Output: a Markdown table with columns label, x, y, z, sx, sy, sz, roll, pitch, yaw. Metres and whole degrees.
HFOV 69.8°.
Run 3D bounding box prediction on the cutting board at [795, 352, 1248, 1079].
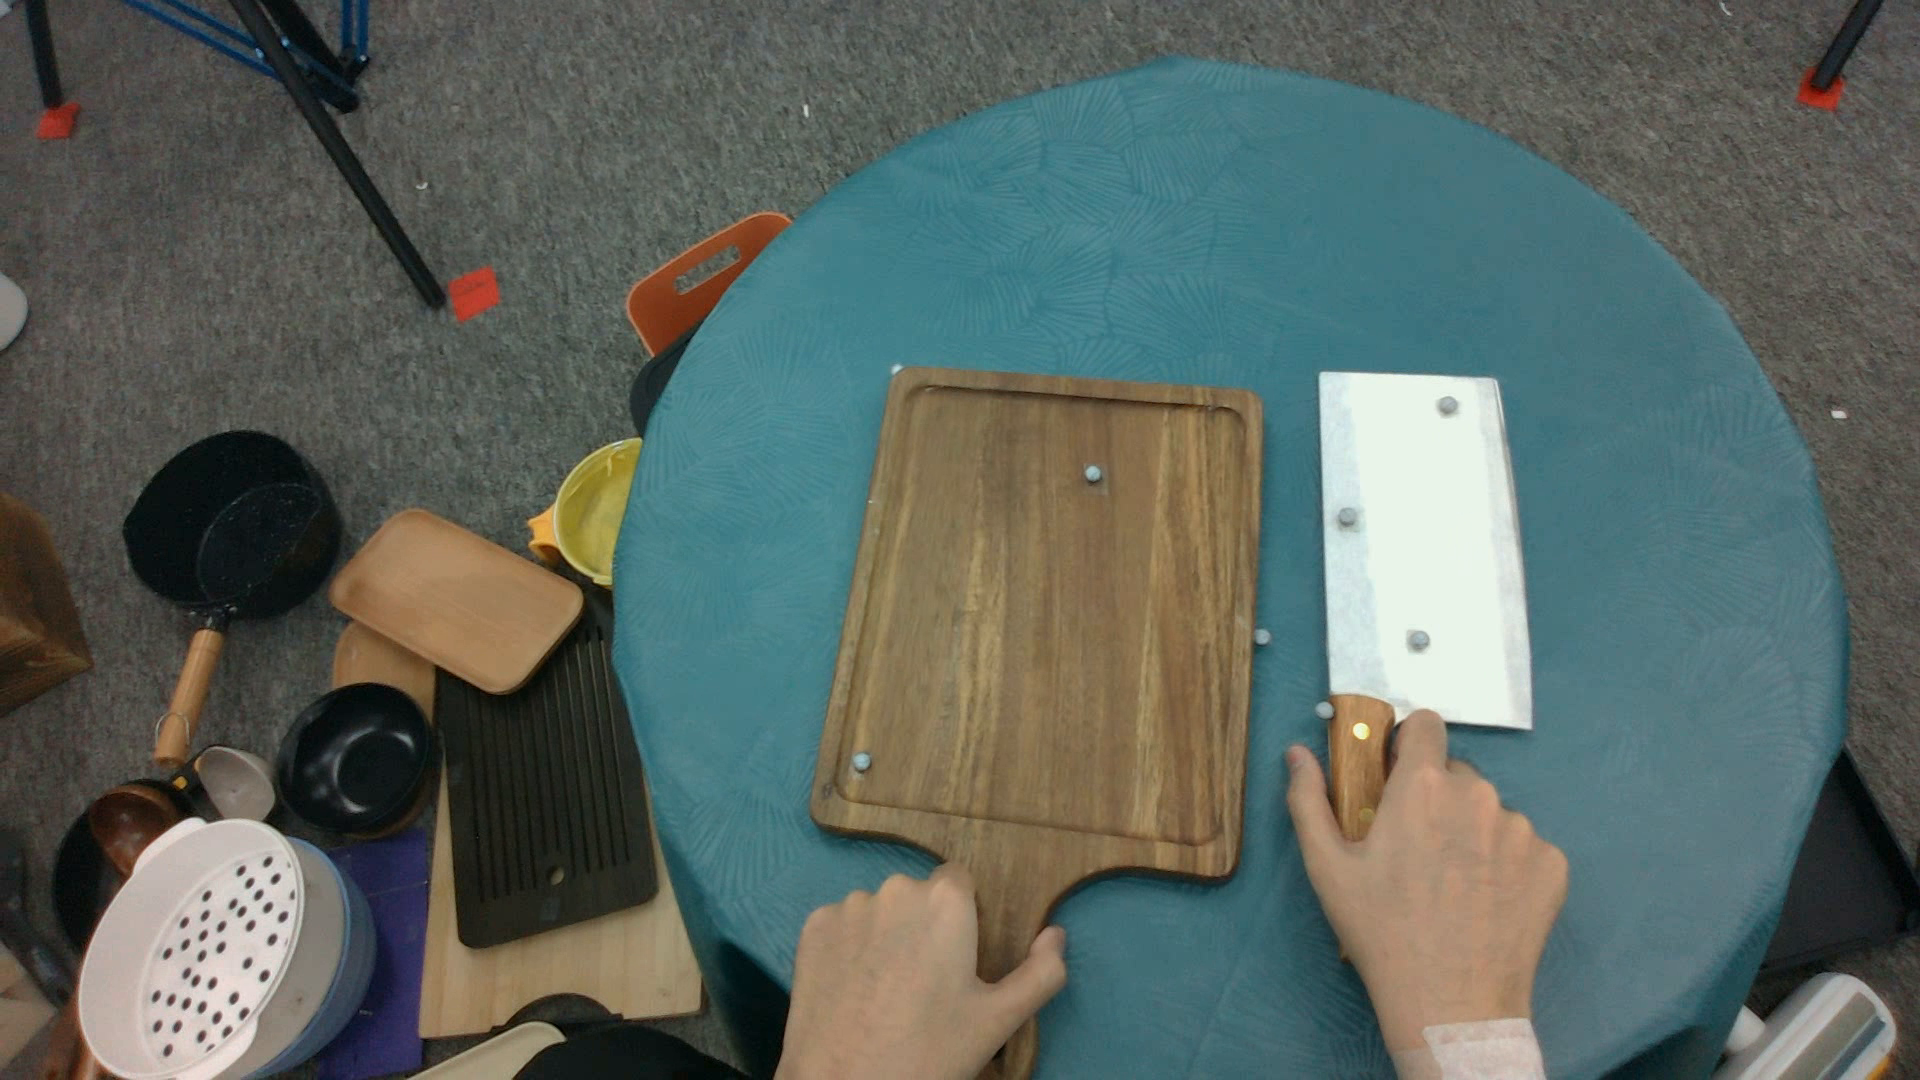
| label | x | y | z | sx | sy | sz | roll | pitch | yaw |
| --- | --- | --- | --- | --- | --- | --- | --- | --- | --- |
| cutting board | 0.030 | 0.067 | 0.650 | 0.201 | 0.023 | 0.353 | 5 | 65 | 7 |

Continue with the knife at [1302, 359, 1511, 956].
| label | x | y | z | sx | sy | sz | roll | pitch | yaw |
| --- | --- | --- | --- | --- | --- | --- | --- | --- | --- |
| knife | 0.210 | 0.041 | 0.648 | 0.093 | 0.021 | 0.307 | 3 | 63 | 4 |
